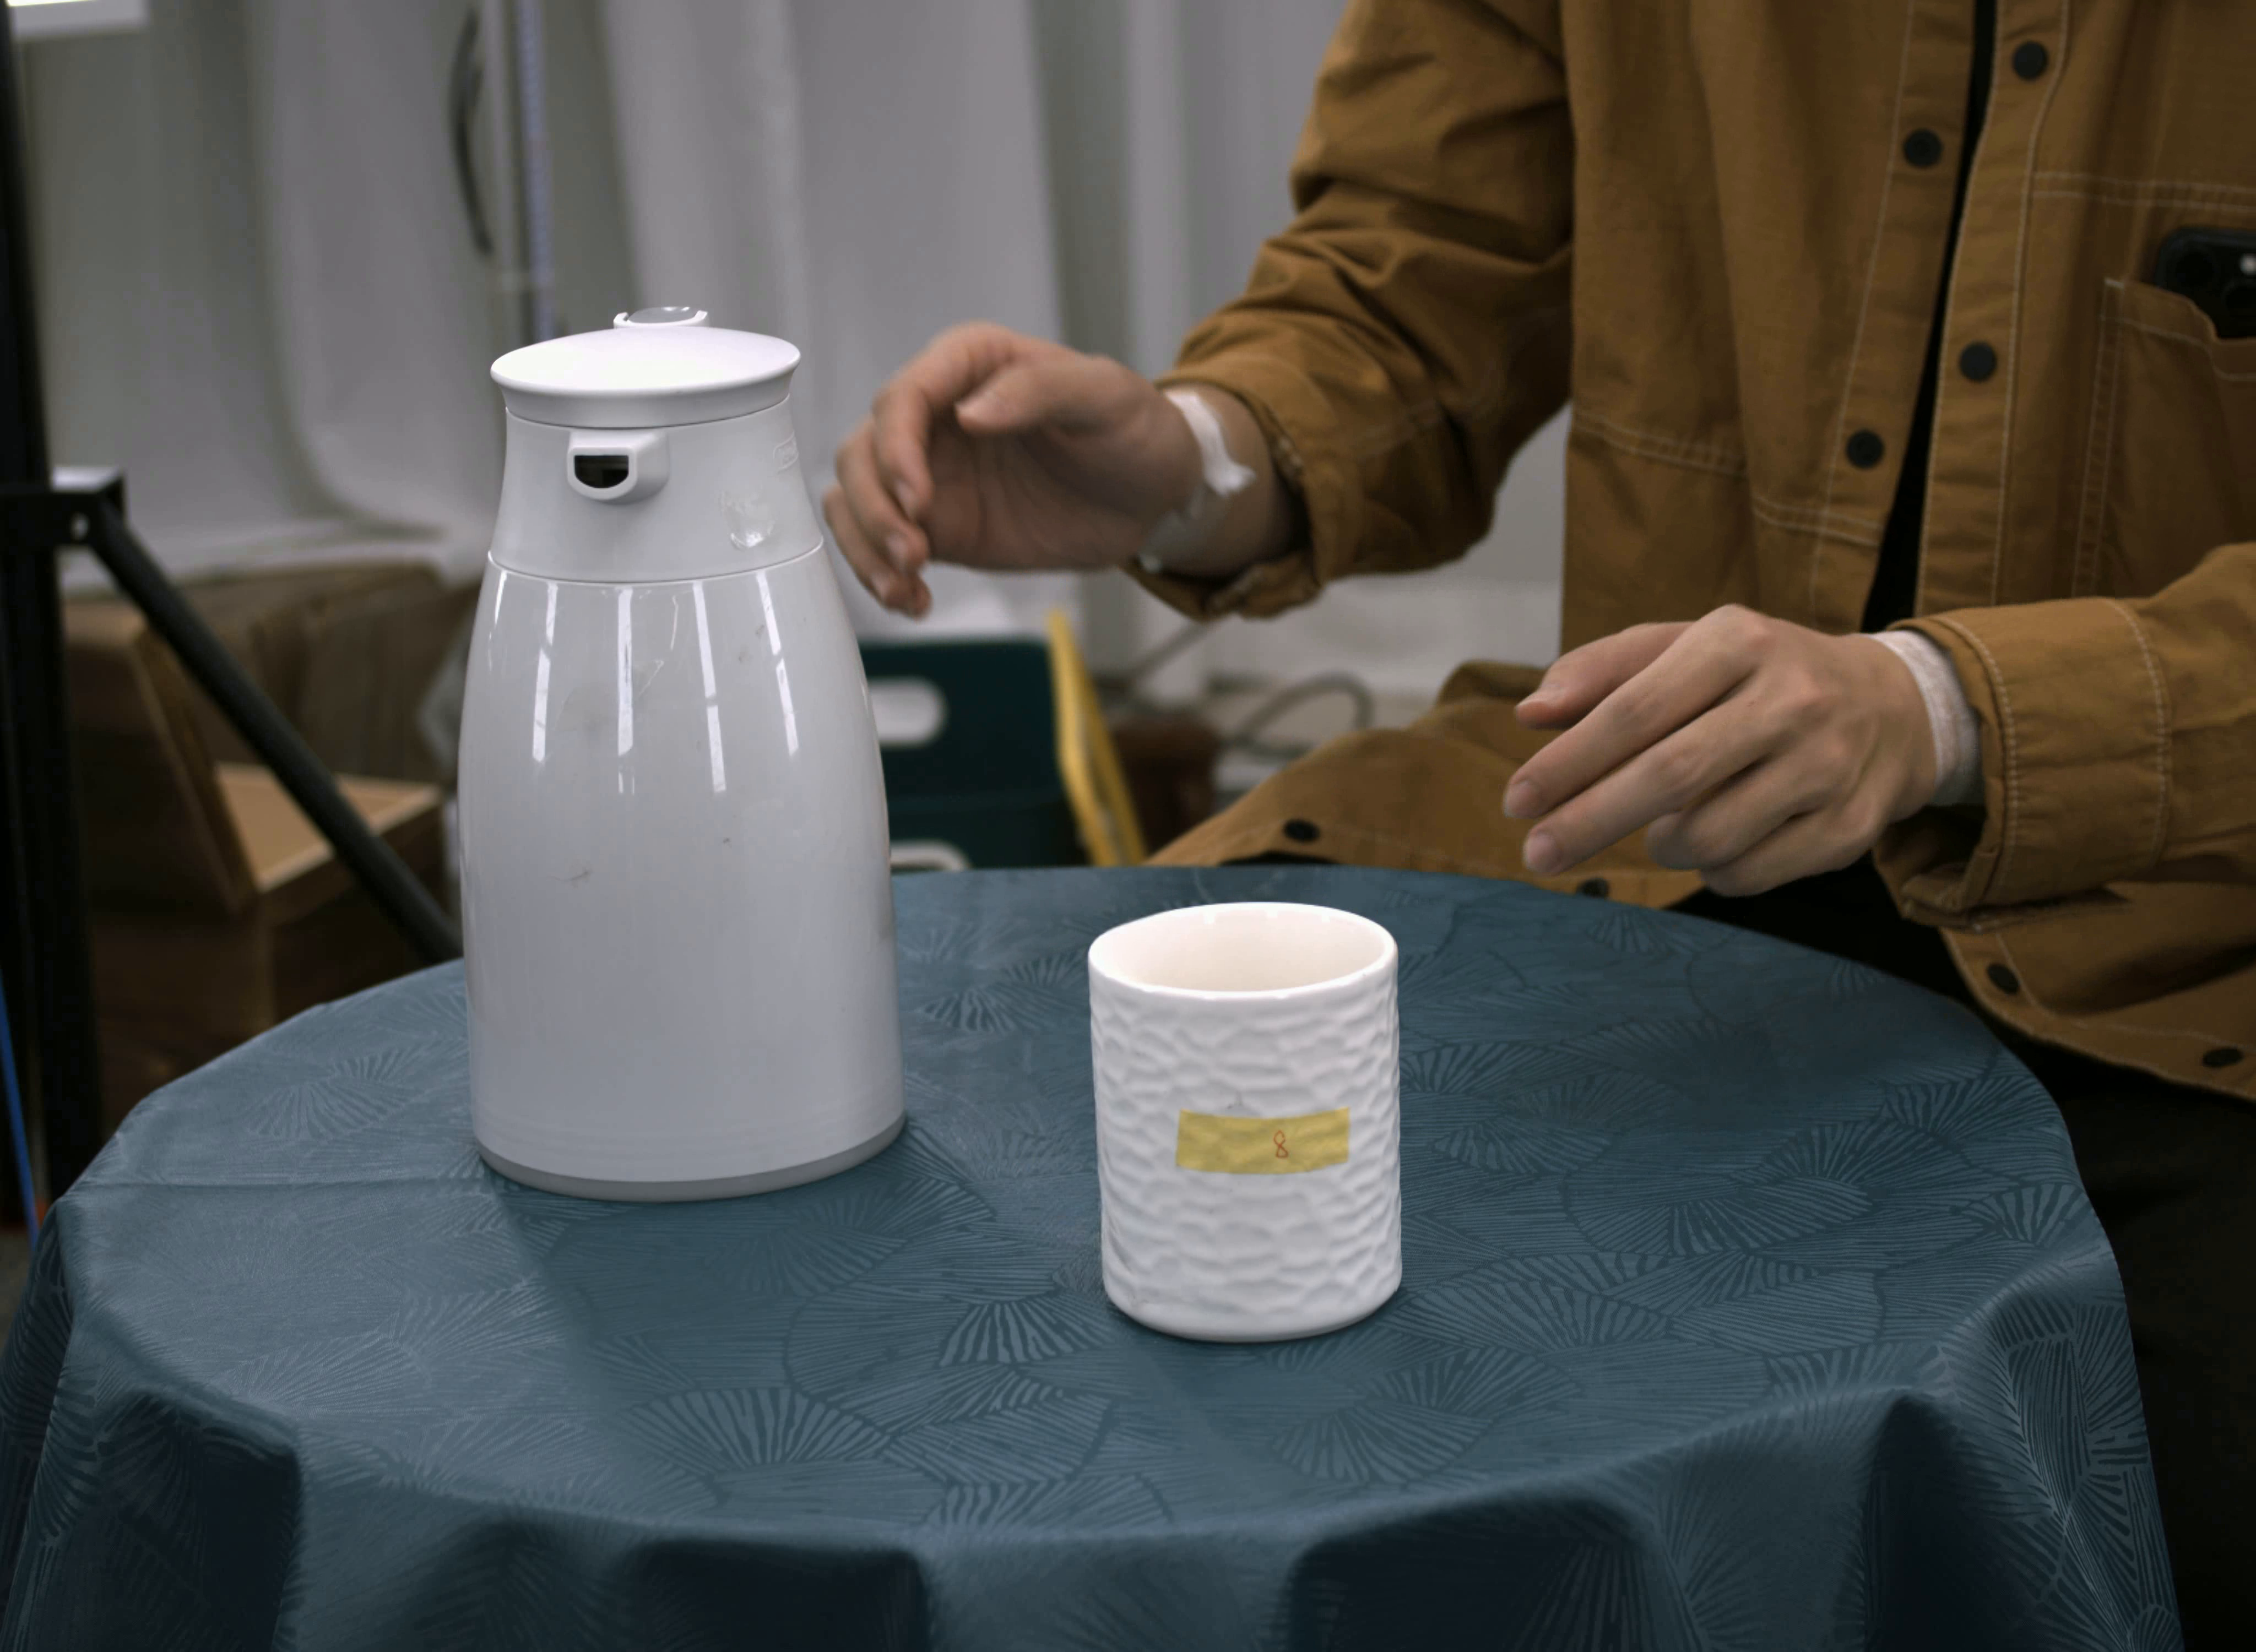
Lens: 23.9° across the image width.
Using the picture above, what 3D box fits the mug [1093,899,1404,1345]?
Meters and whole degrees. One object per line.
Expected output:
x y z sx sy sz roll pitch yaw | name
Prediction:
0.038 0.077 1.470 0.085 0.102 0.117 3 16 15 | mug

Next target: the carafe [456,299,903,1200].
-0.137 -0.031 1.616 0.133 0.248 0.167 -1 15 8 | carafe
